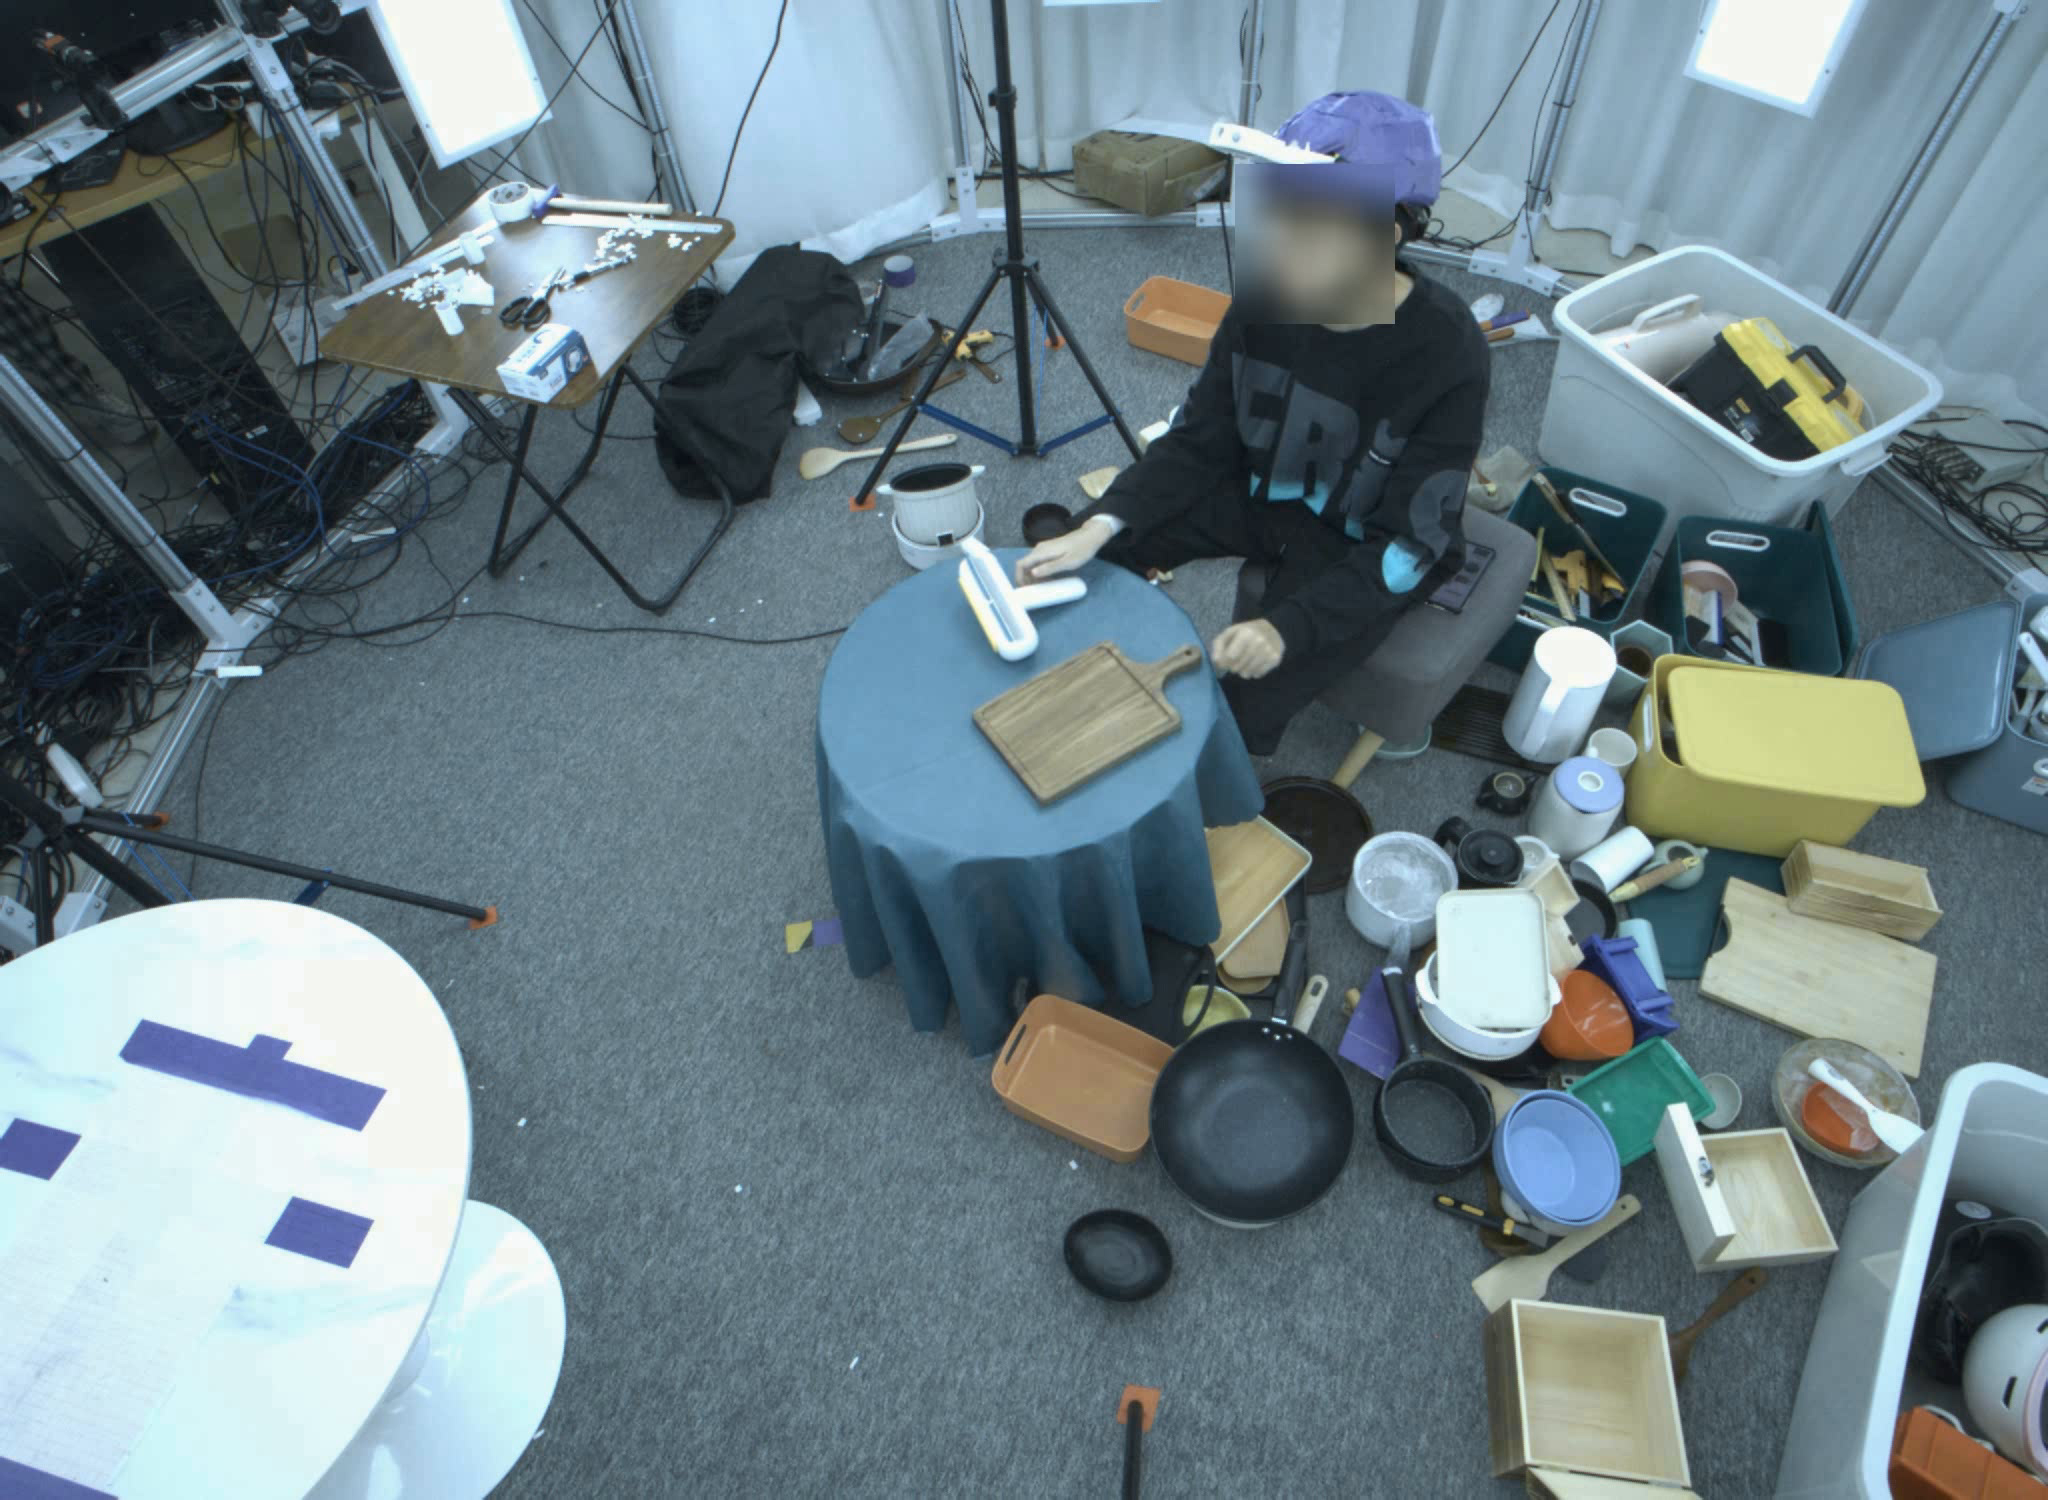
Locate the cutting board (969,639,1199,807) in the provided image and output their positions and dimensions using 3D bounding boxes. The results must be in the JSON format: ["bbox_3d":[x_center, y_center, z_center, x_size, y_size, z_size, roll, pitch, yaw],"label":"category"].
[{"bbox_3d":[0.116,-0.068,1.814,0.355,0.023,0.197,-30,59,-18],"label":"cutting board"}]

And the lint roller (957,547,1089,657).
[{"bbox_3d":[0.011,-0.242,1.912,0.194,0.075,0.190,-18,61,-12],"label":"lint roller"}]
